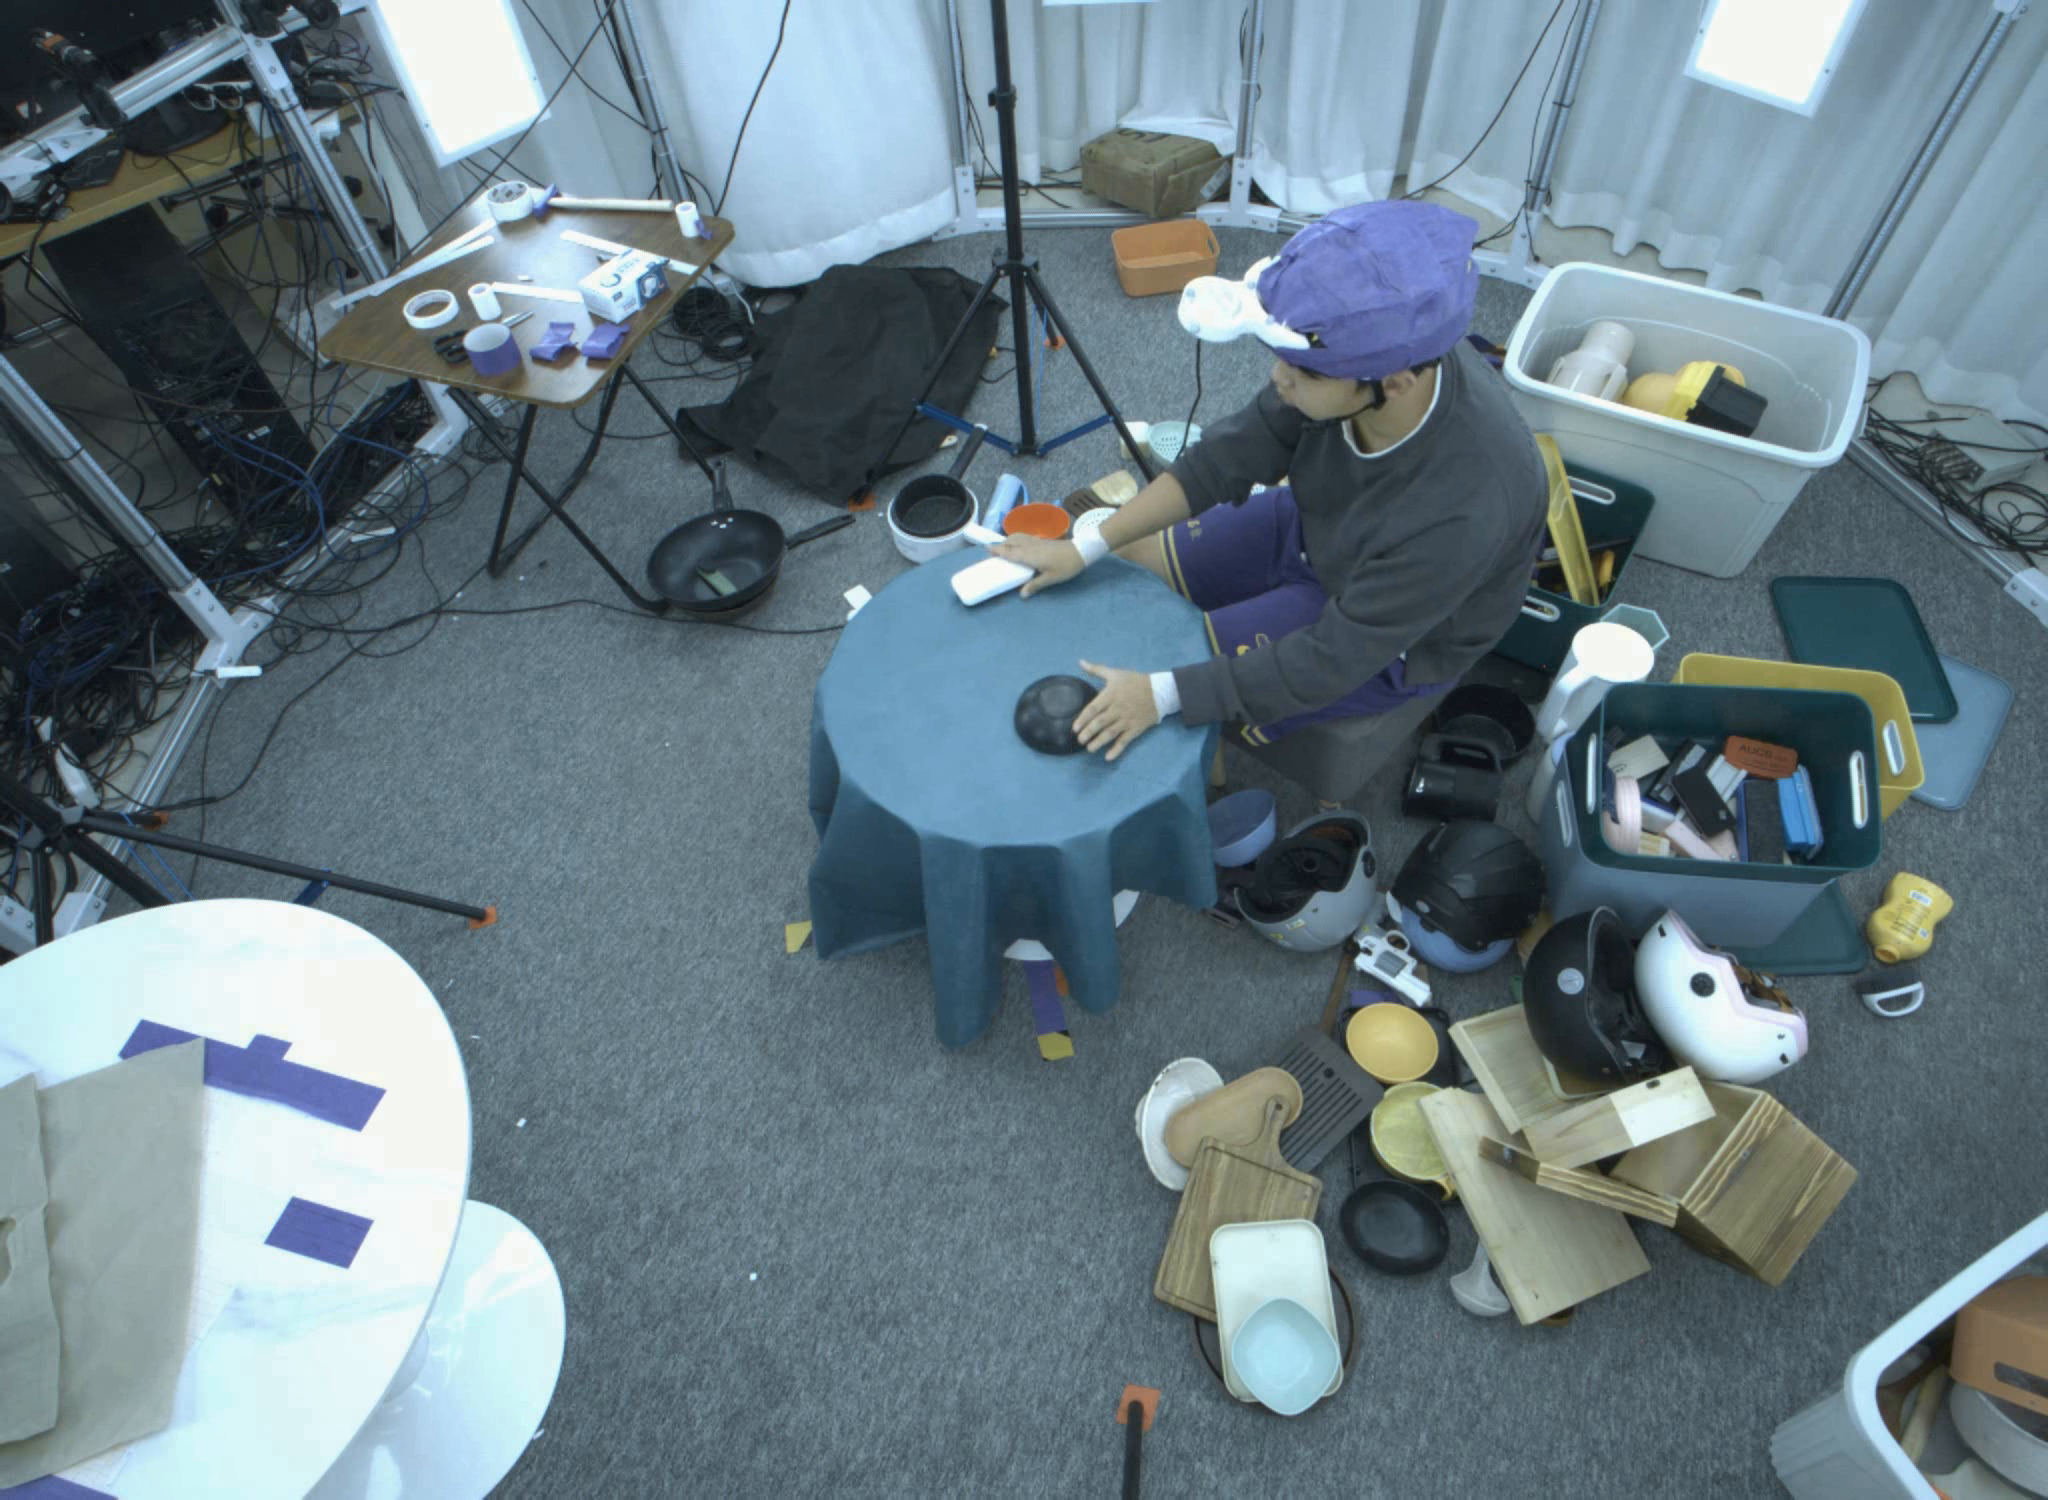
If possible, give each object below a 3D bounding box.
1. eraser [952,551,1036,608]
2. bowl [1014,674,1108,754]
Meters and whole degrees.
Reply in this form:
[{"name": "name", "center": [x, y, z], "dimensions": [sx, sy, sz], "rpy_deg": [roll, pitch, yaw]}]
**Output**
[{"name": "eraser", "center": [-0.048, -0.274, 1.966], "dimensions": [0.132, 0.035, 0.062], "rpy_deg": [-24, 58, -12]}, {"name": "bowl", "center": [0.053, -0.063, 1.801], "dimensions": [0.140, 0.050, 0.138], "rpy_deg": [-1, 54, 3]}]
